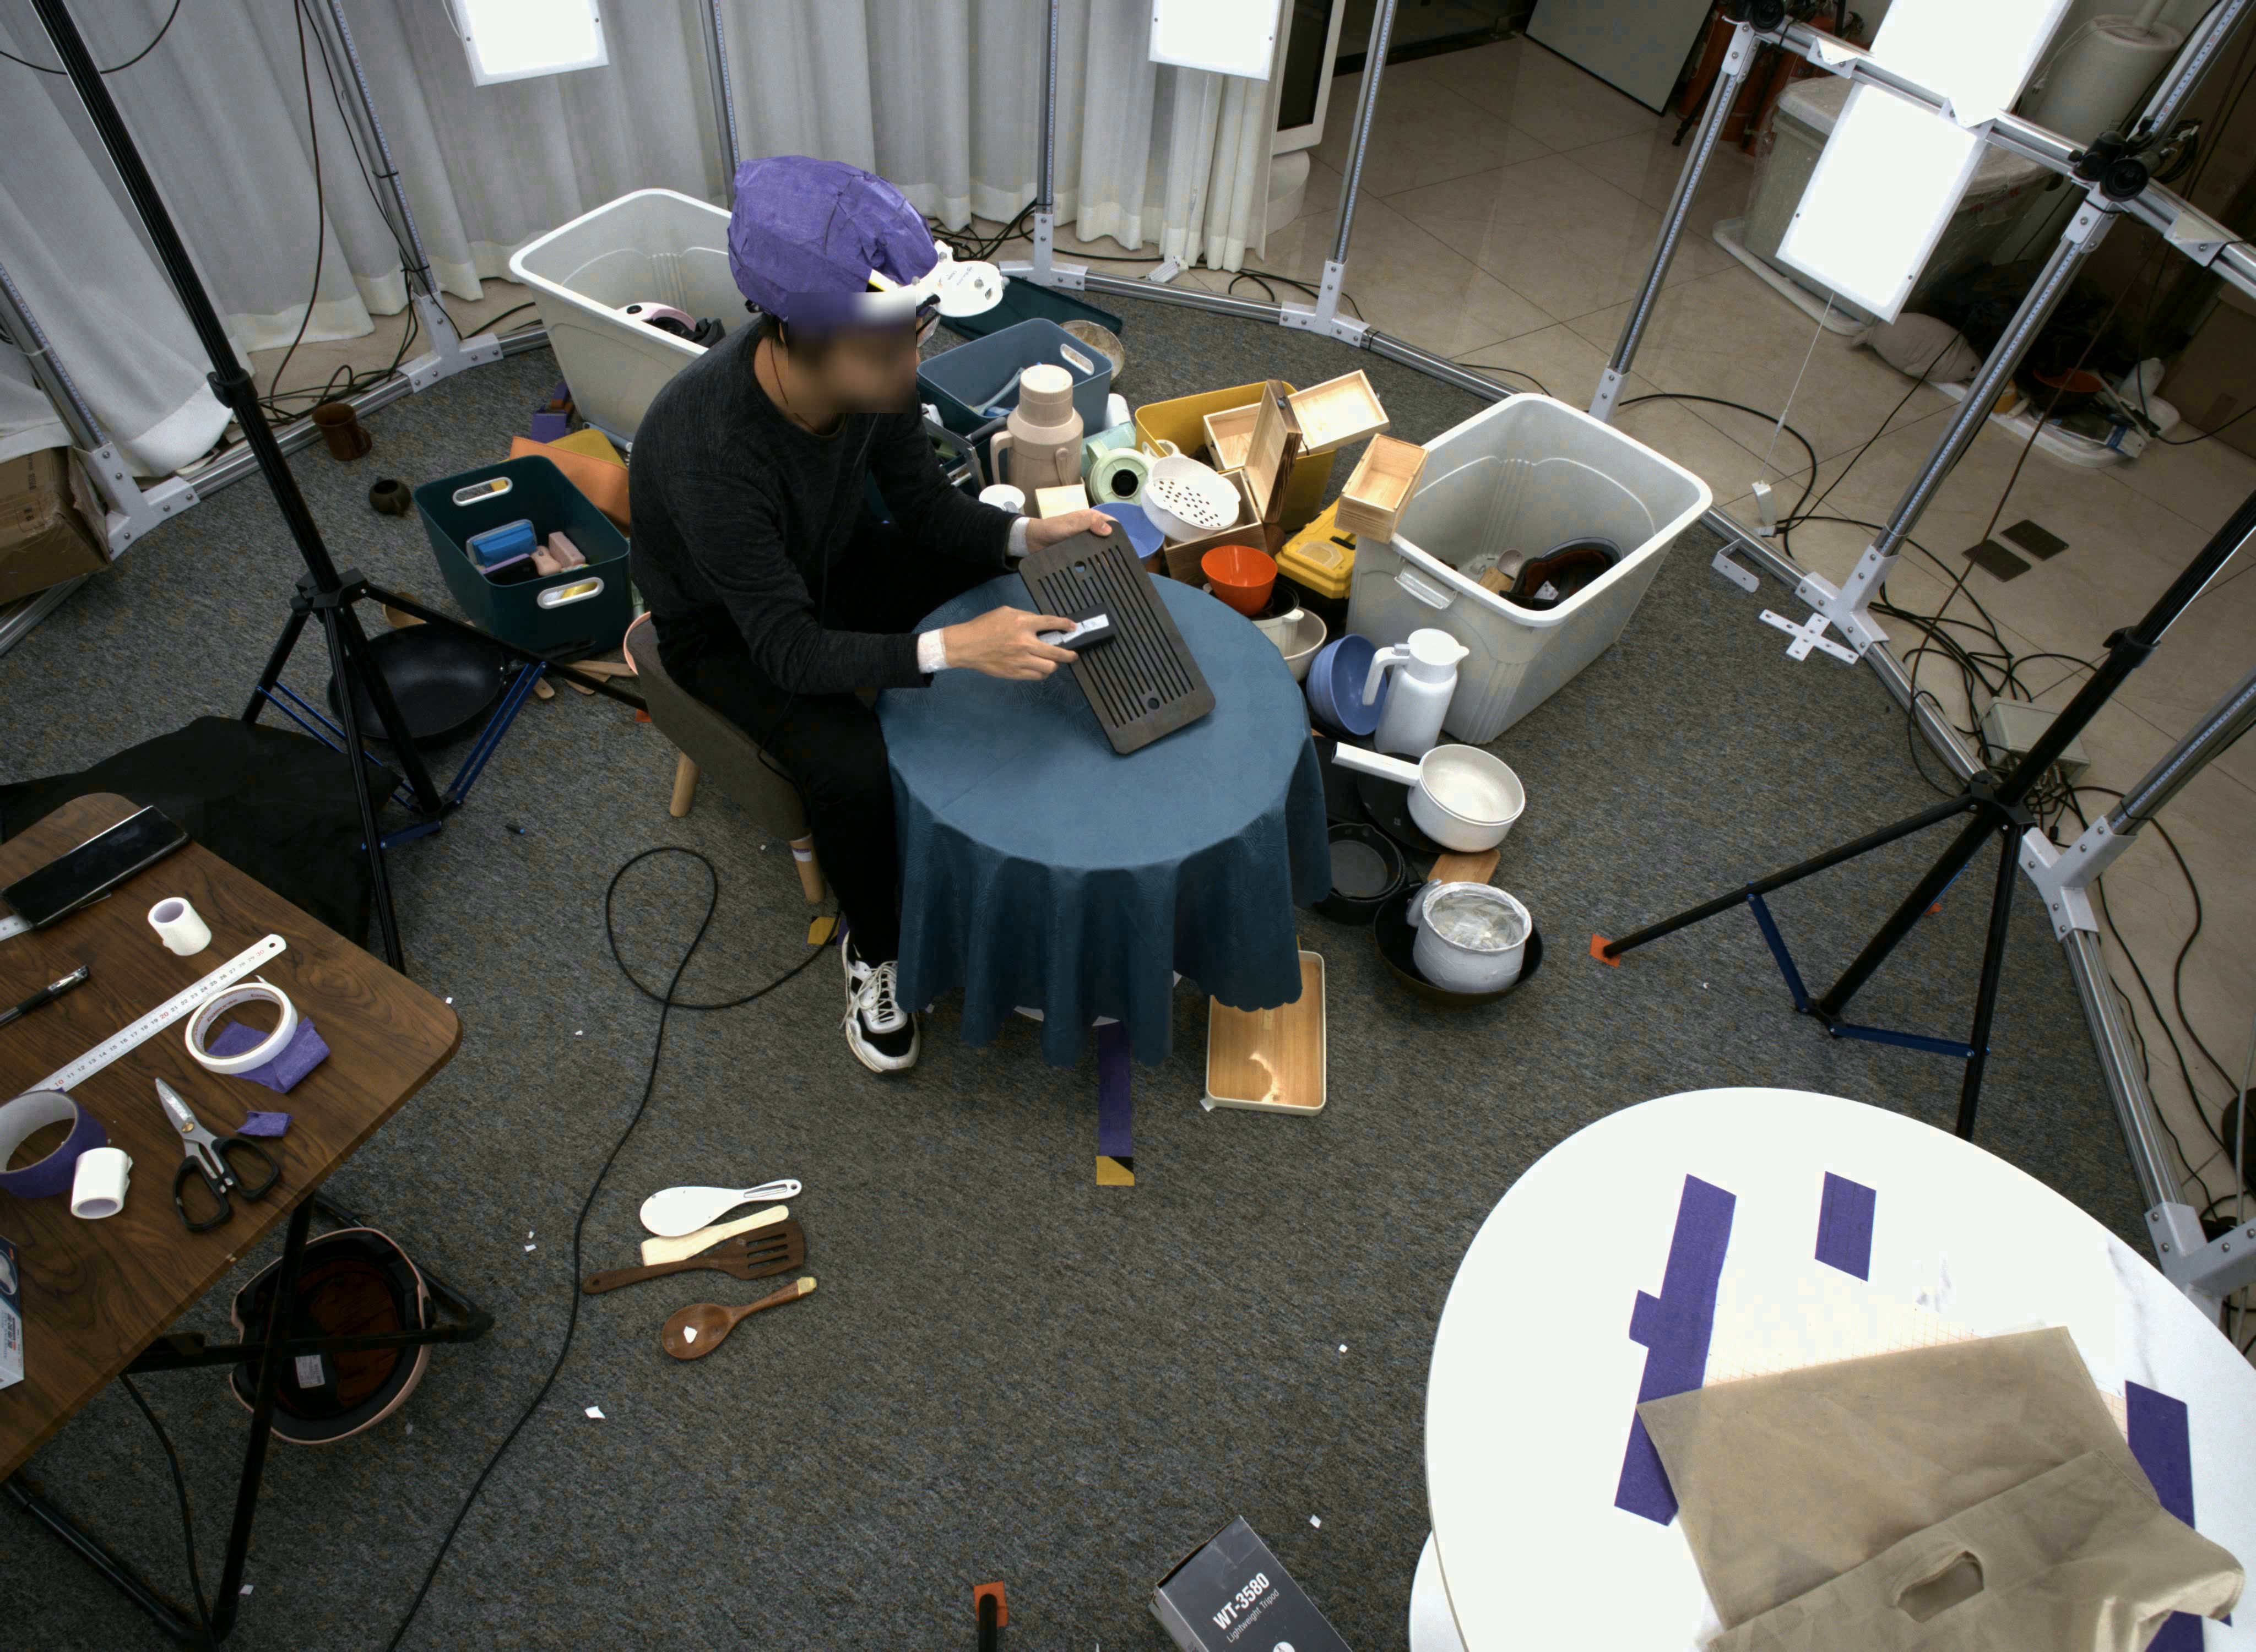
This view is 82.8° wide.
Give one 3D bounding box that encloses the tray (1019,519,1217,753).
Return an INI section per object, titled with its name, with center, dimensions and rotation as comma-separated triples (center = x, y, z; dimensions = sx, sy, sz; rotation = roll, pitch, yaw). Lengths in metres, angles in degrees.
[tray]
center = -0.013, -0.266, 1.789
dimensions = 0.171, 0.018, 0.307
rotation = -27, 87, -20

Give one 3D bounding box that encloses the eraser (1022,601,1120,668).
[eraser]
center = -0.077, -0.261, 1.744
dimensions = 0.126, 0.030, 0.054
rotation = -23, 83, -20
